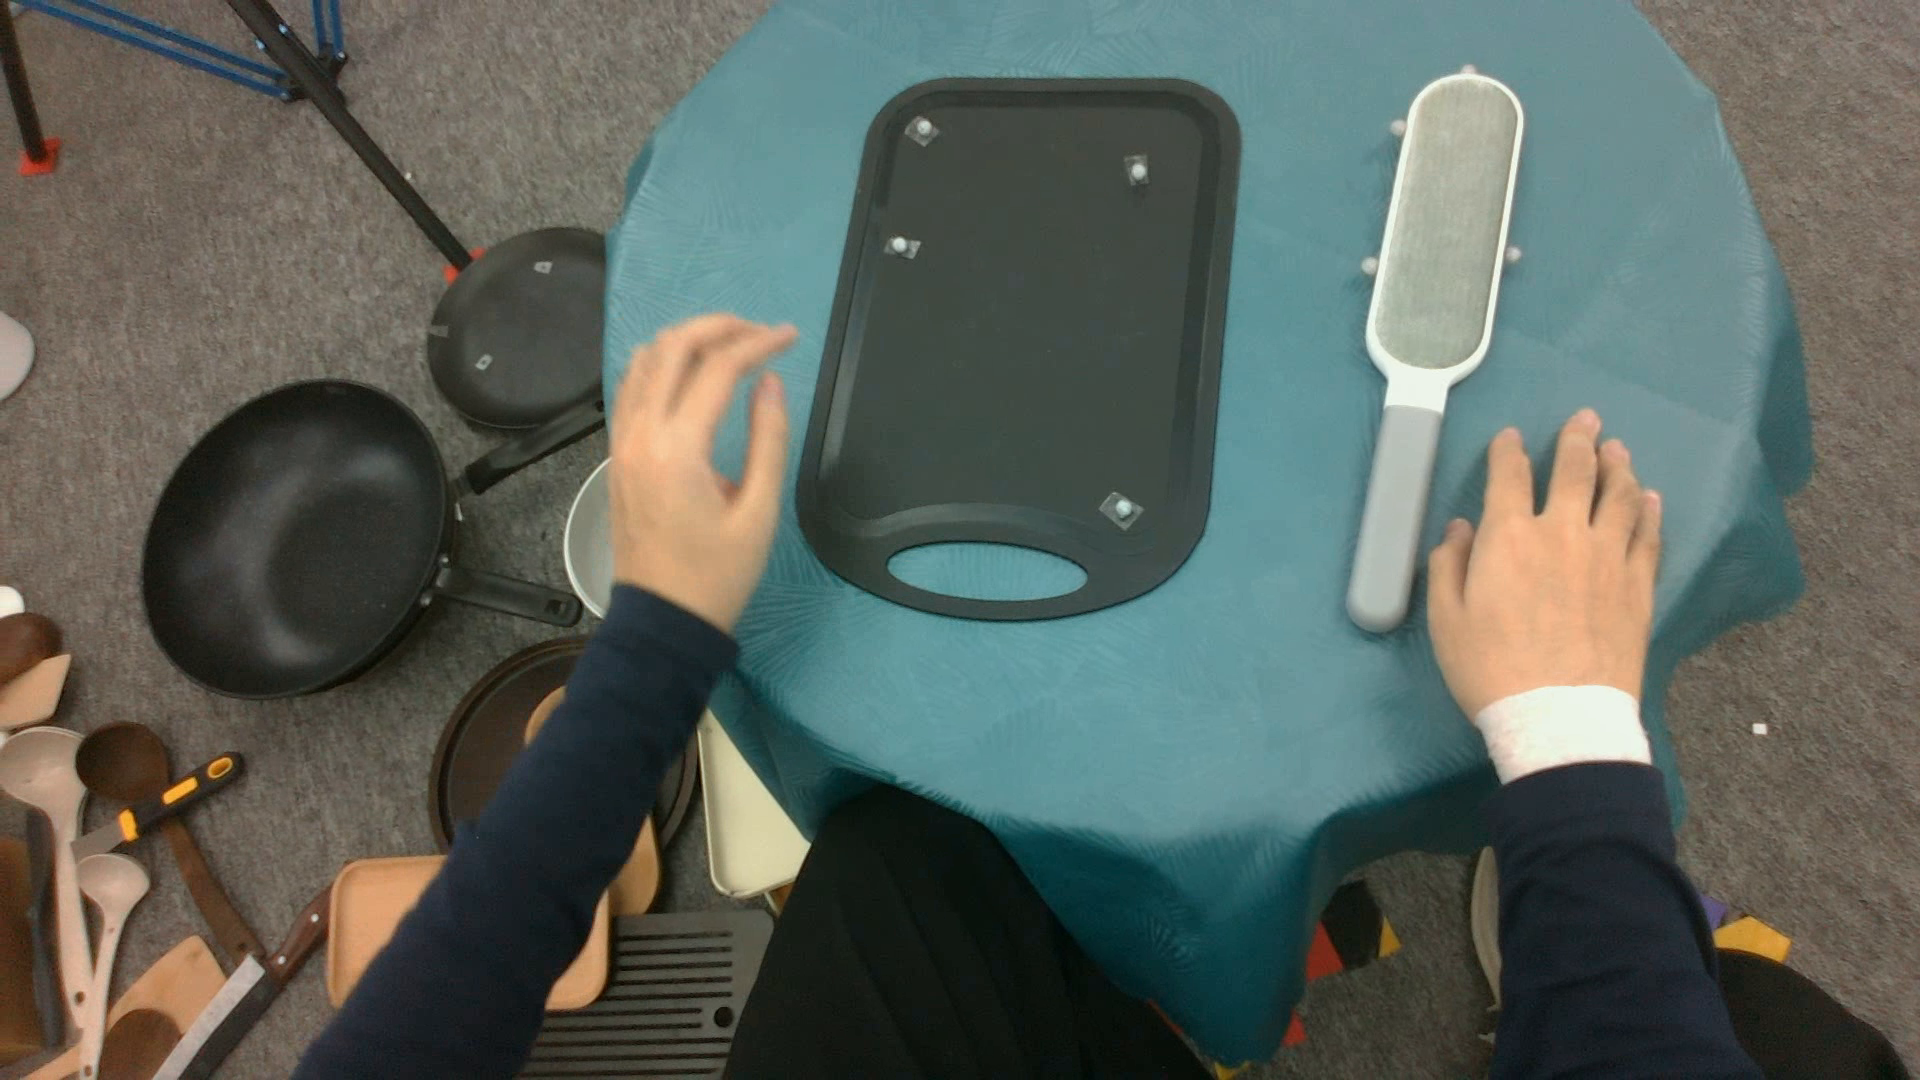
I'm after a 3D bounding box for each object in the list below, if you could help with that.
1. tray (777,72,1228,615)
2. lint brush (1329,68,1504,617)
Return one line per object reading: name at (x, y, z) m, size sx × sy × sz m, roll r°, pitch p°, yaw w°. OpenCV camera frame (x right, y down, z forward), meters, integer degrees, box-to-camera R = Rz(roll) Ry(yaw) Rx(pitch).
tray at (0.025, -0.115, 0.717) m, size 0.211 × 0.010 × 0.326 m, roll 5°, pitch 68°, yaw 11°
lint brush at (0.217, -0.106, 0.671) m, size 0.060 × 0.021 × 0.310 m, roll 13°, pitch 69°, yaw 9°
